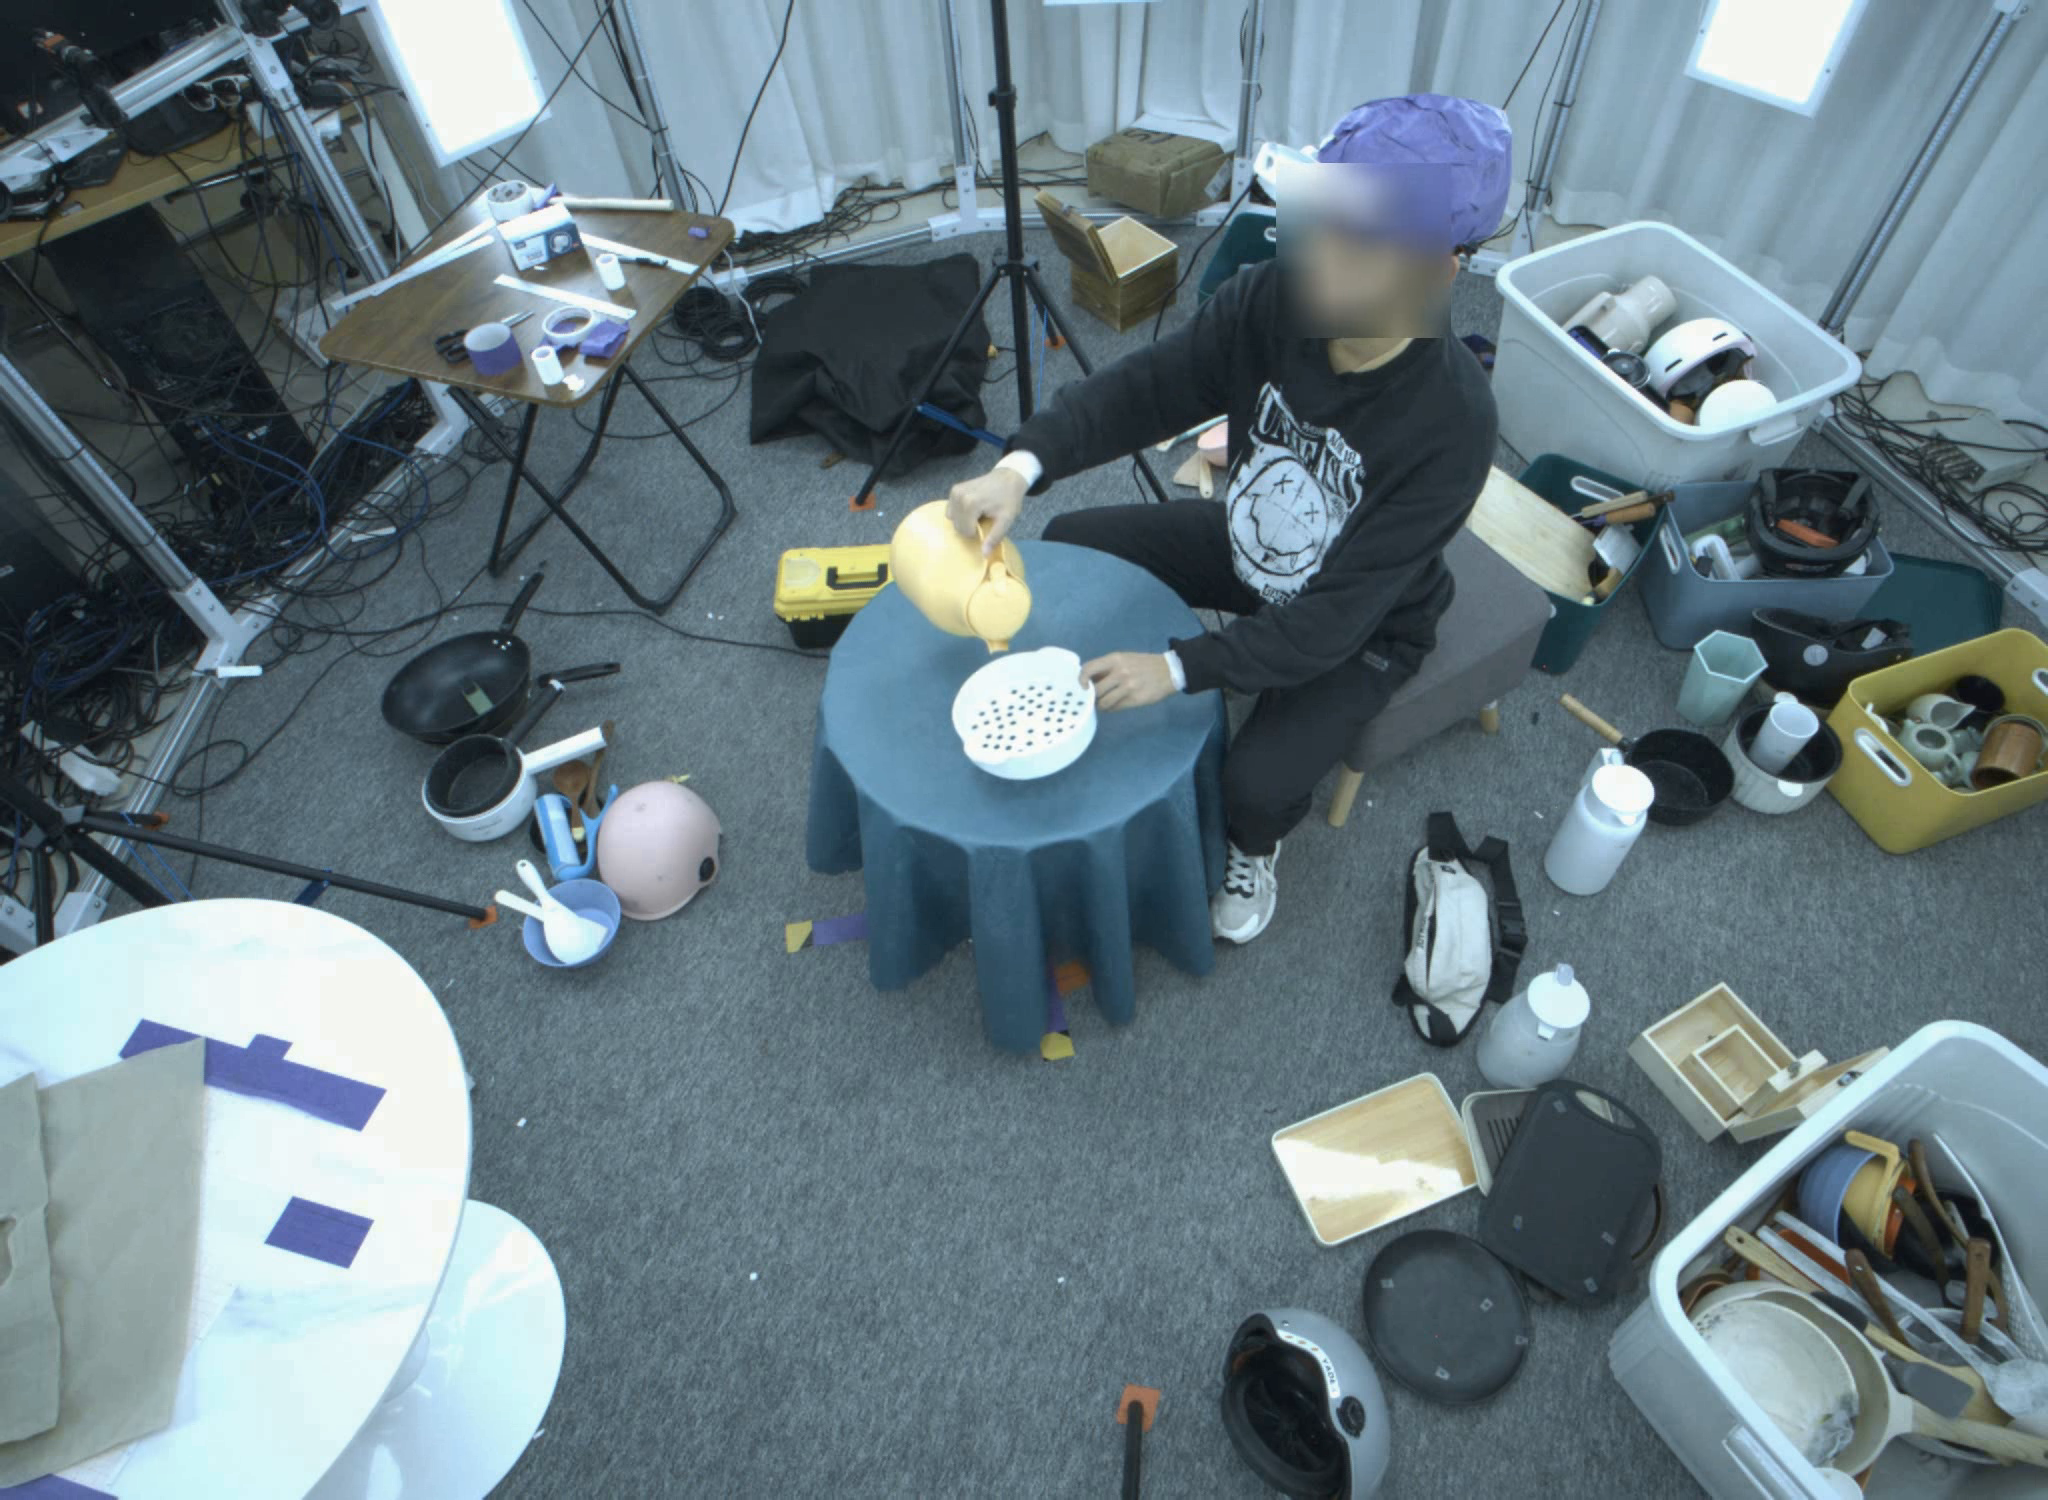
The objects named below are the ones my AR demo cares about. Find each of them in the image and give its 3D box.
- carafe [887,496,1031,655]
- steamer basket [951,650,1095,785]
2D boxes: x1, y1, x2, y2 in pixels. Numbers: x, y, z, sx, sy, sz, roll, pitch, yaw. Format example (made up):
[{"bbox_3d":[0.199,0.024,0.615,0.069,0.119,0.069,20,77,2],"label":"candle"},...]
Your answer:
[{"bbox_3d":[-0.082,-0.261,1.714,0.166,0.204,0.254,-14,36,-24],"label":"carafe"},{"bbox_3d":[0.001,-0.042,1.733,0.198,0.070,0.231,18,56,27],"label":"steamer basket"}]
